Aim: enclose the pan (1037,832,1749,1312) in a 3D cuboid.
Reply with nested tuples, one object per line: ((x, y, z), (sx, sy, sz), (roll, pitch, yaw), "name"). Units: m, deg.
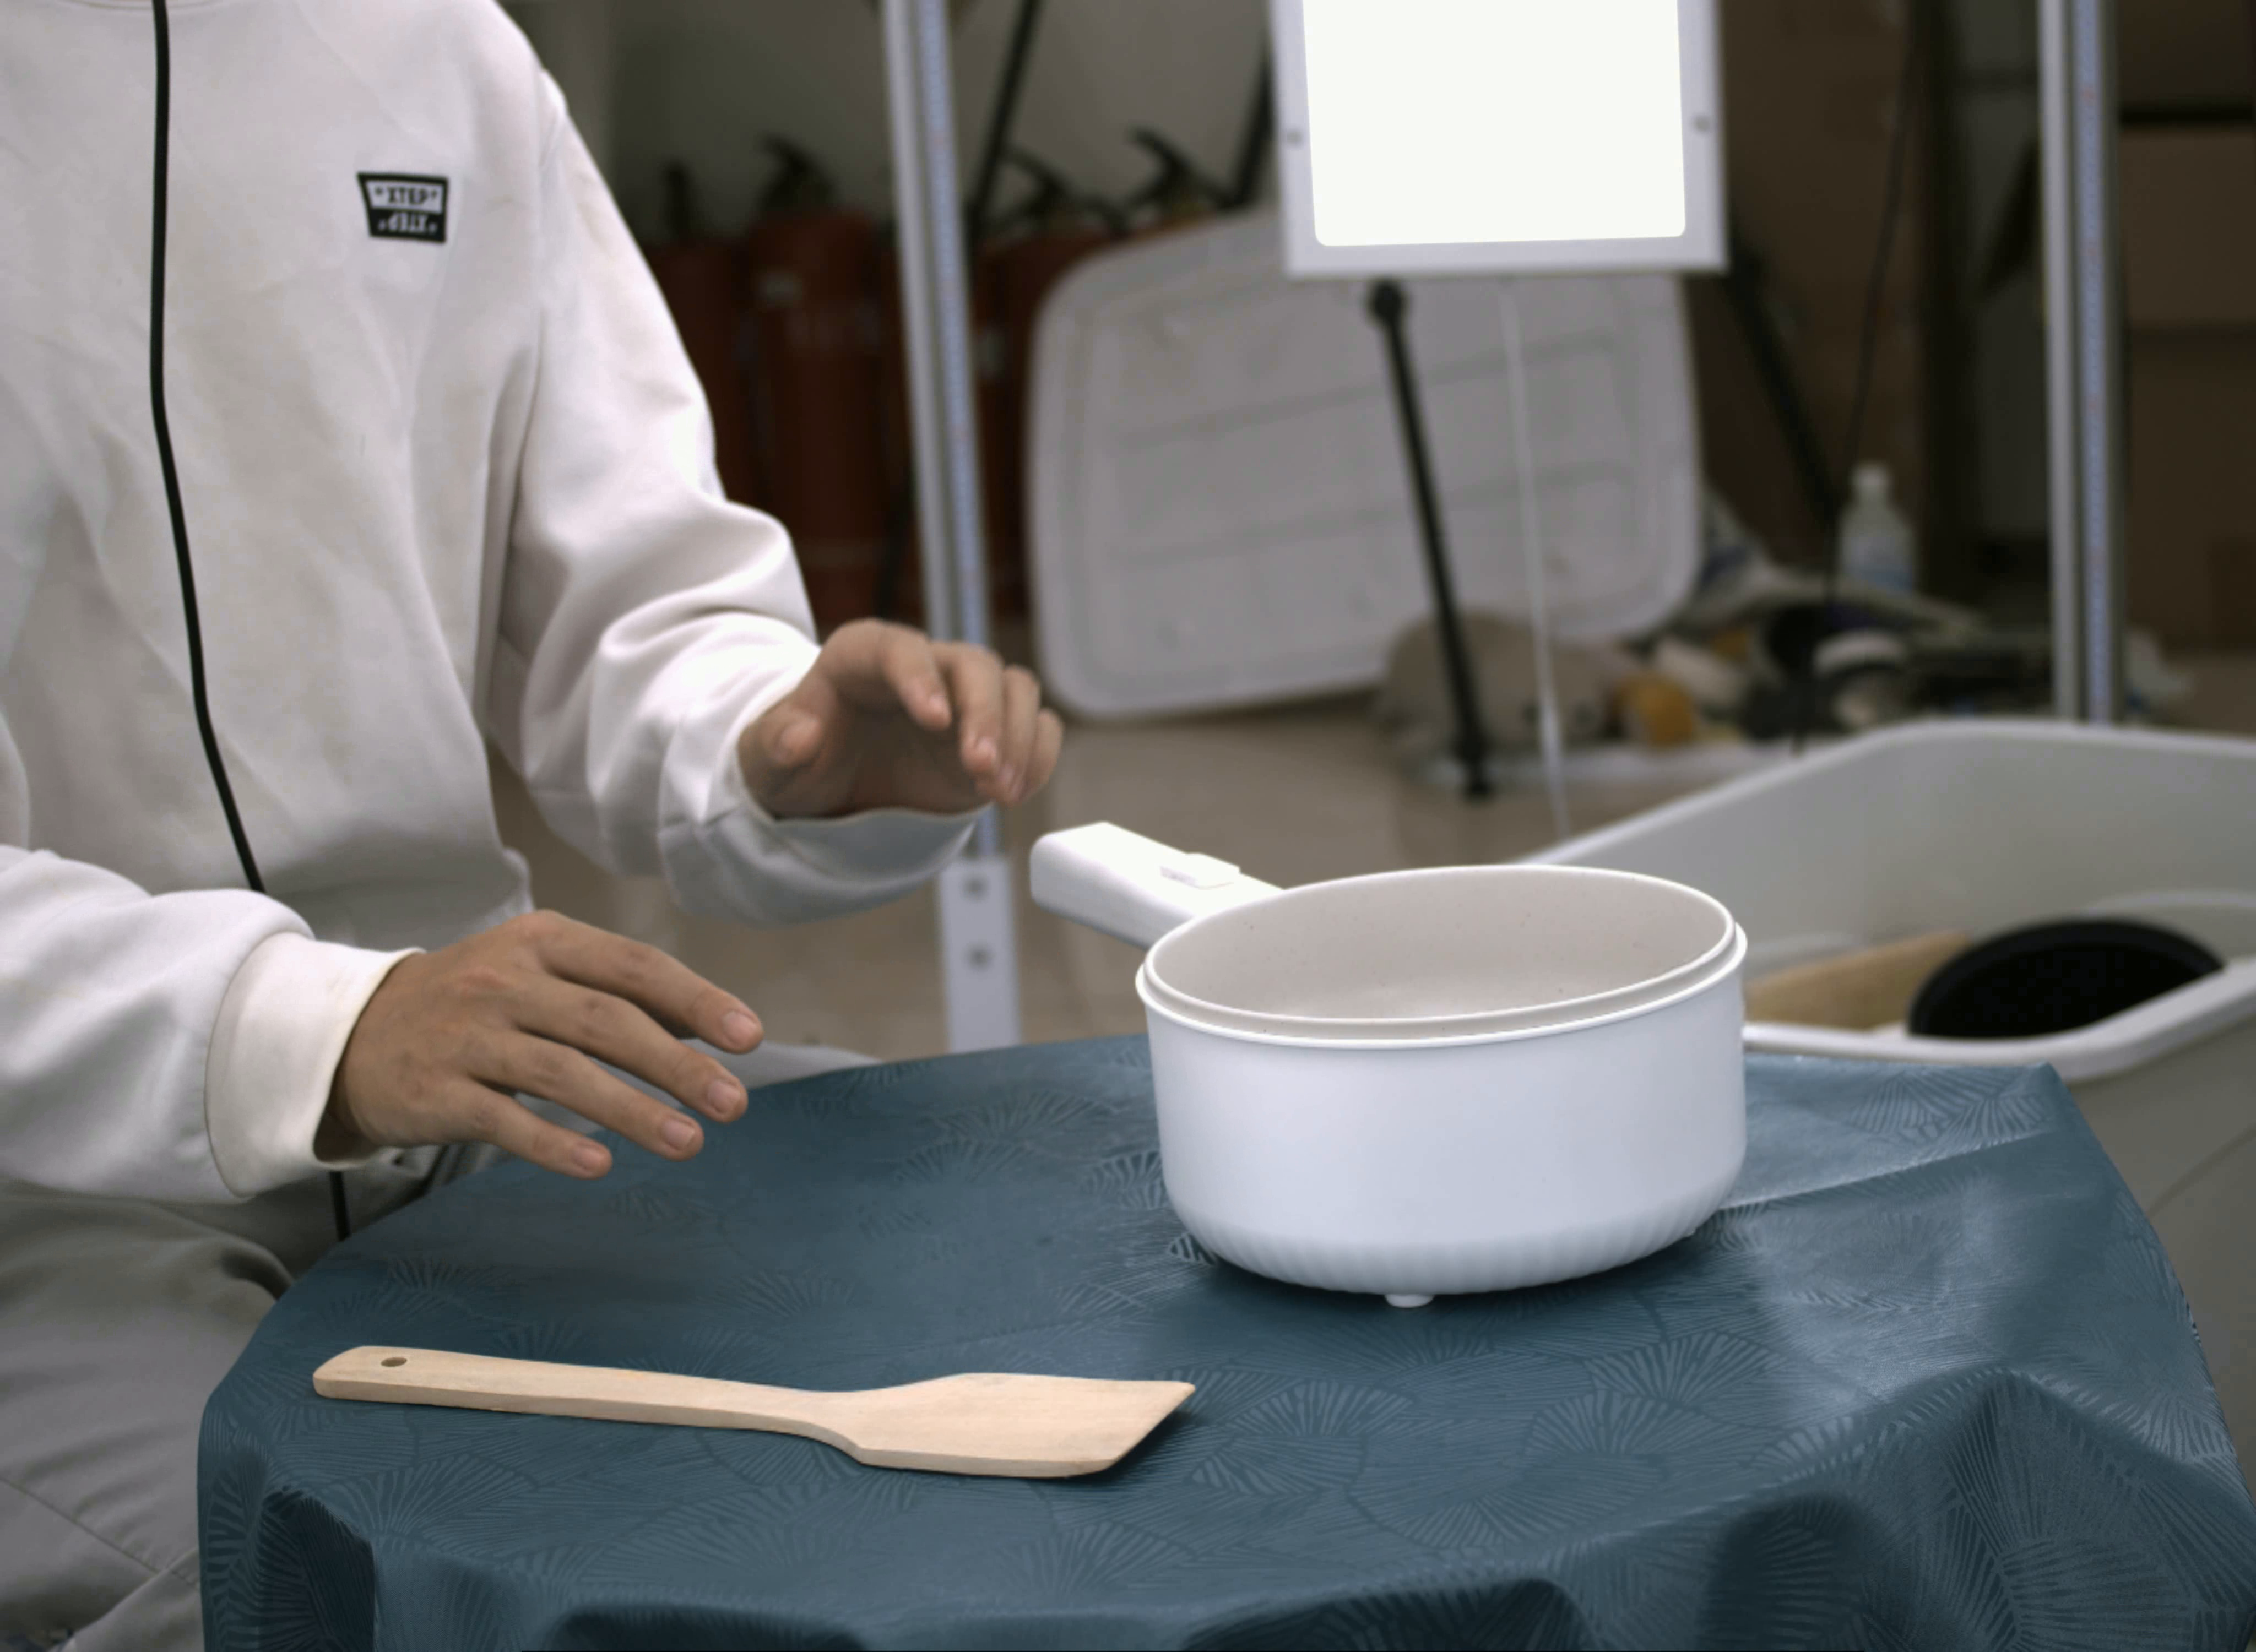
((0.070, 0.076, 1.881), (0.197, 0.102, 0.361), (-13, 14, -26), "pan")

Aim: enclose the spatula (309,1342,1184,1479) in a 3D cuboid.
((-0.127, 0.178, 1.712), (0.298, 0.011, 0.071), (2, 17, 26), "spatula")
